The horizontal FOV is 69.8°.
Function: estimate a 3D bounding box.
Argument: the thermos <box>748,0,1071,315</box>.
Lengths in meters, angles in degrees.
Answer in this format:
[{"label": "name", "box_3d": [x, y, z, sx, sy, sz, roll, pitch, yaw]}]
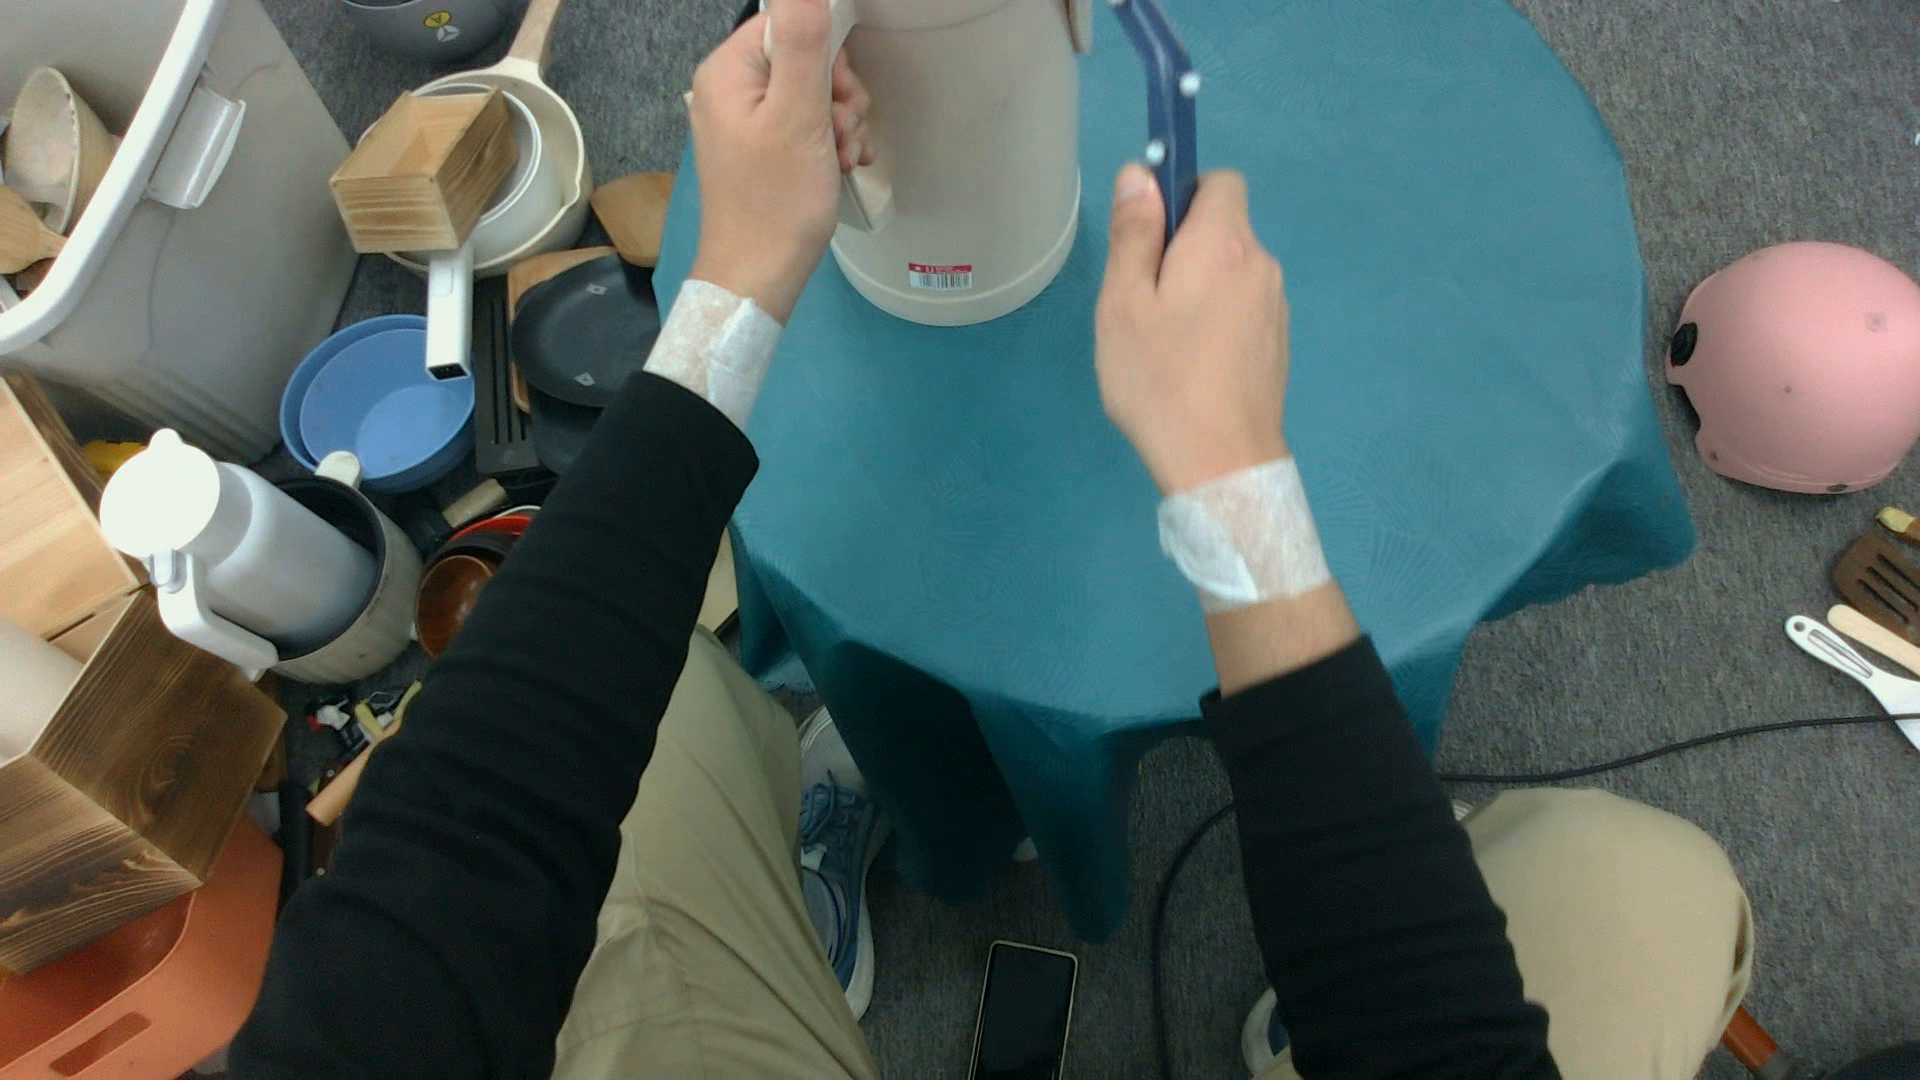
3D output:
[{"label": "thermos", "box_3d": [-0.034, -0.264, 0.675, 0.175, 0.405, 0.207, 22, 72, 9]}]

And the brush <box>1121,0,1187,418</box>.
[{"label": "brush", "box_3d": [0.085, -0.188, 0.549, 0.095, 0.033, 0.273, -7, 93, 31]}]
